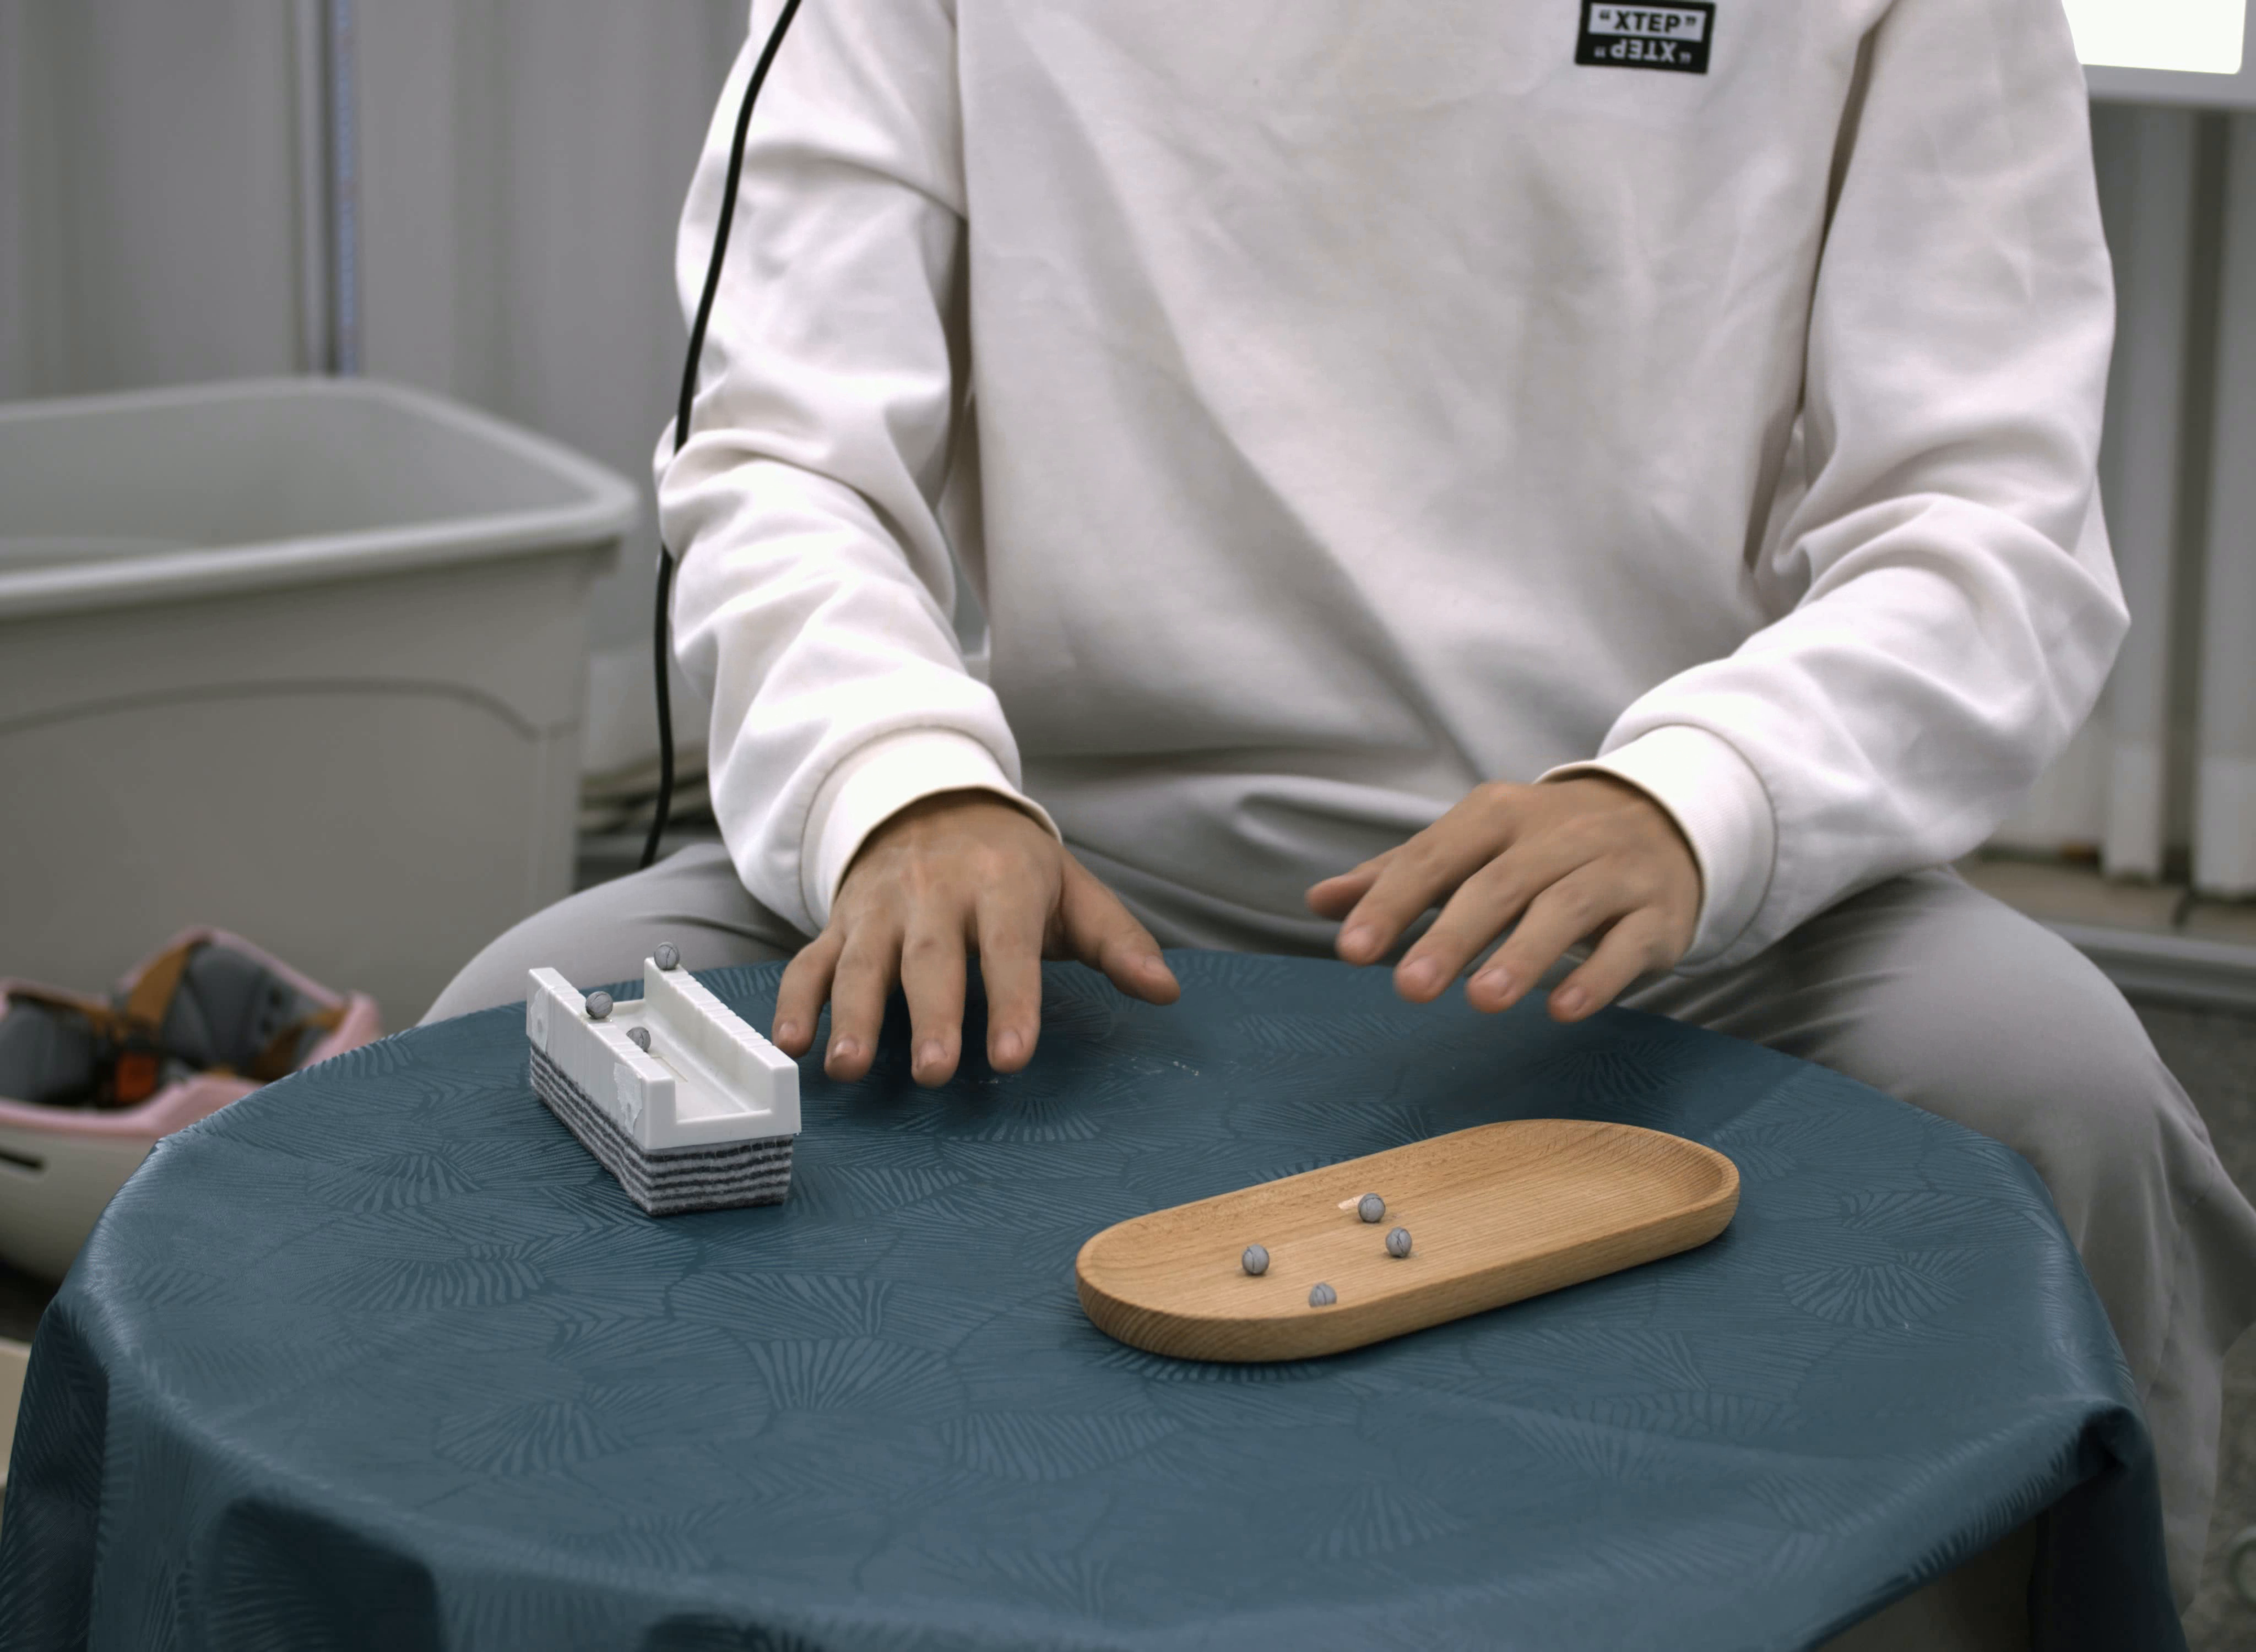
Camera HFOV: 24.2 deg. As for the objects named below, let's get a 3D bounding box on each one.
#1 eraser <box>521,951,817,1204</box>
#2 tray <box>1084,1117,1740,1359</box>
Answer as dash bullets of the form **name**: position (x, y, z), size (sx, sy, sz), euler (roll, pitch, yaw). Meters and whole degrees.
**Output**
- **eraser**: position (-0.146, 0.079, 1.655), size (0.050, 0.047, 0.132), euler (-1, 14, -27)
- **tray**: position (0.087, 0.122, 1.571), size (0.232, 0.020, 0.100), euler (-10, 19, -40)
